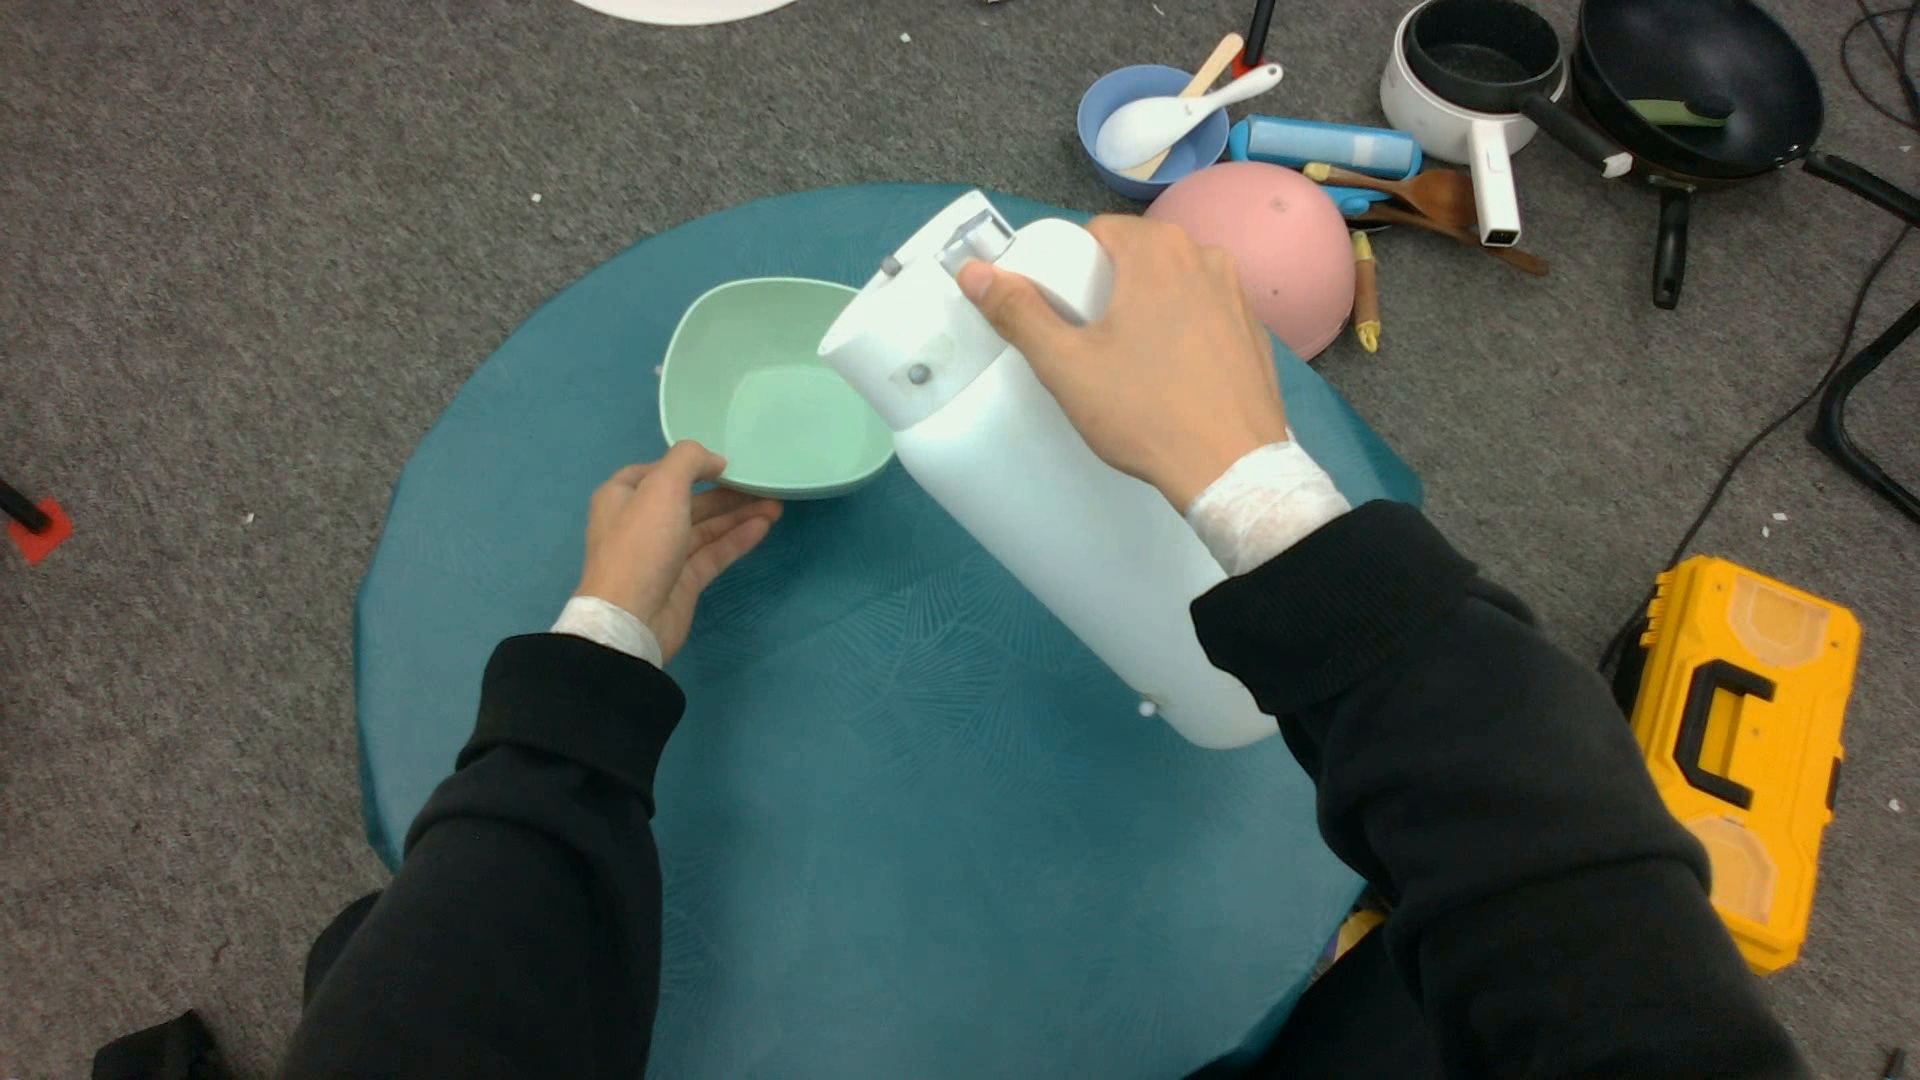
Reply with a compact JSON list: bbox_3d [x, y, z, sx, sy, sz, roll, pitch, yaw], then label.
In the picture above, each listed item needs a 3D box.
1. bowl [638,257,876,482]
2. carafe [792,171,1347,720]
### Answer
[{"bbox_3d":[-0.107,-0.087,0.779,0.151,0.058,0.152,2,66,-4],"label":"bowl"},{"bbox_3d":[0.062,-0.043,0.621,0.268,0.172,0.124,45,64,-17],"label":"carafe"}]
